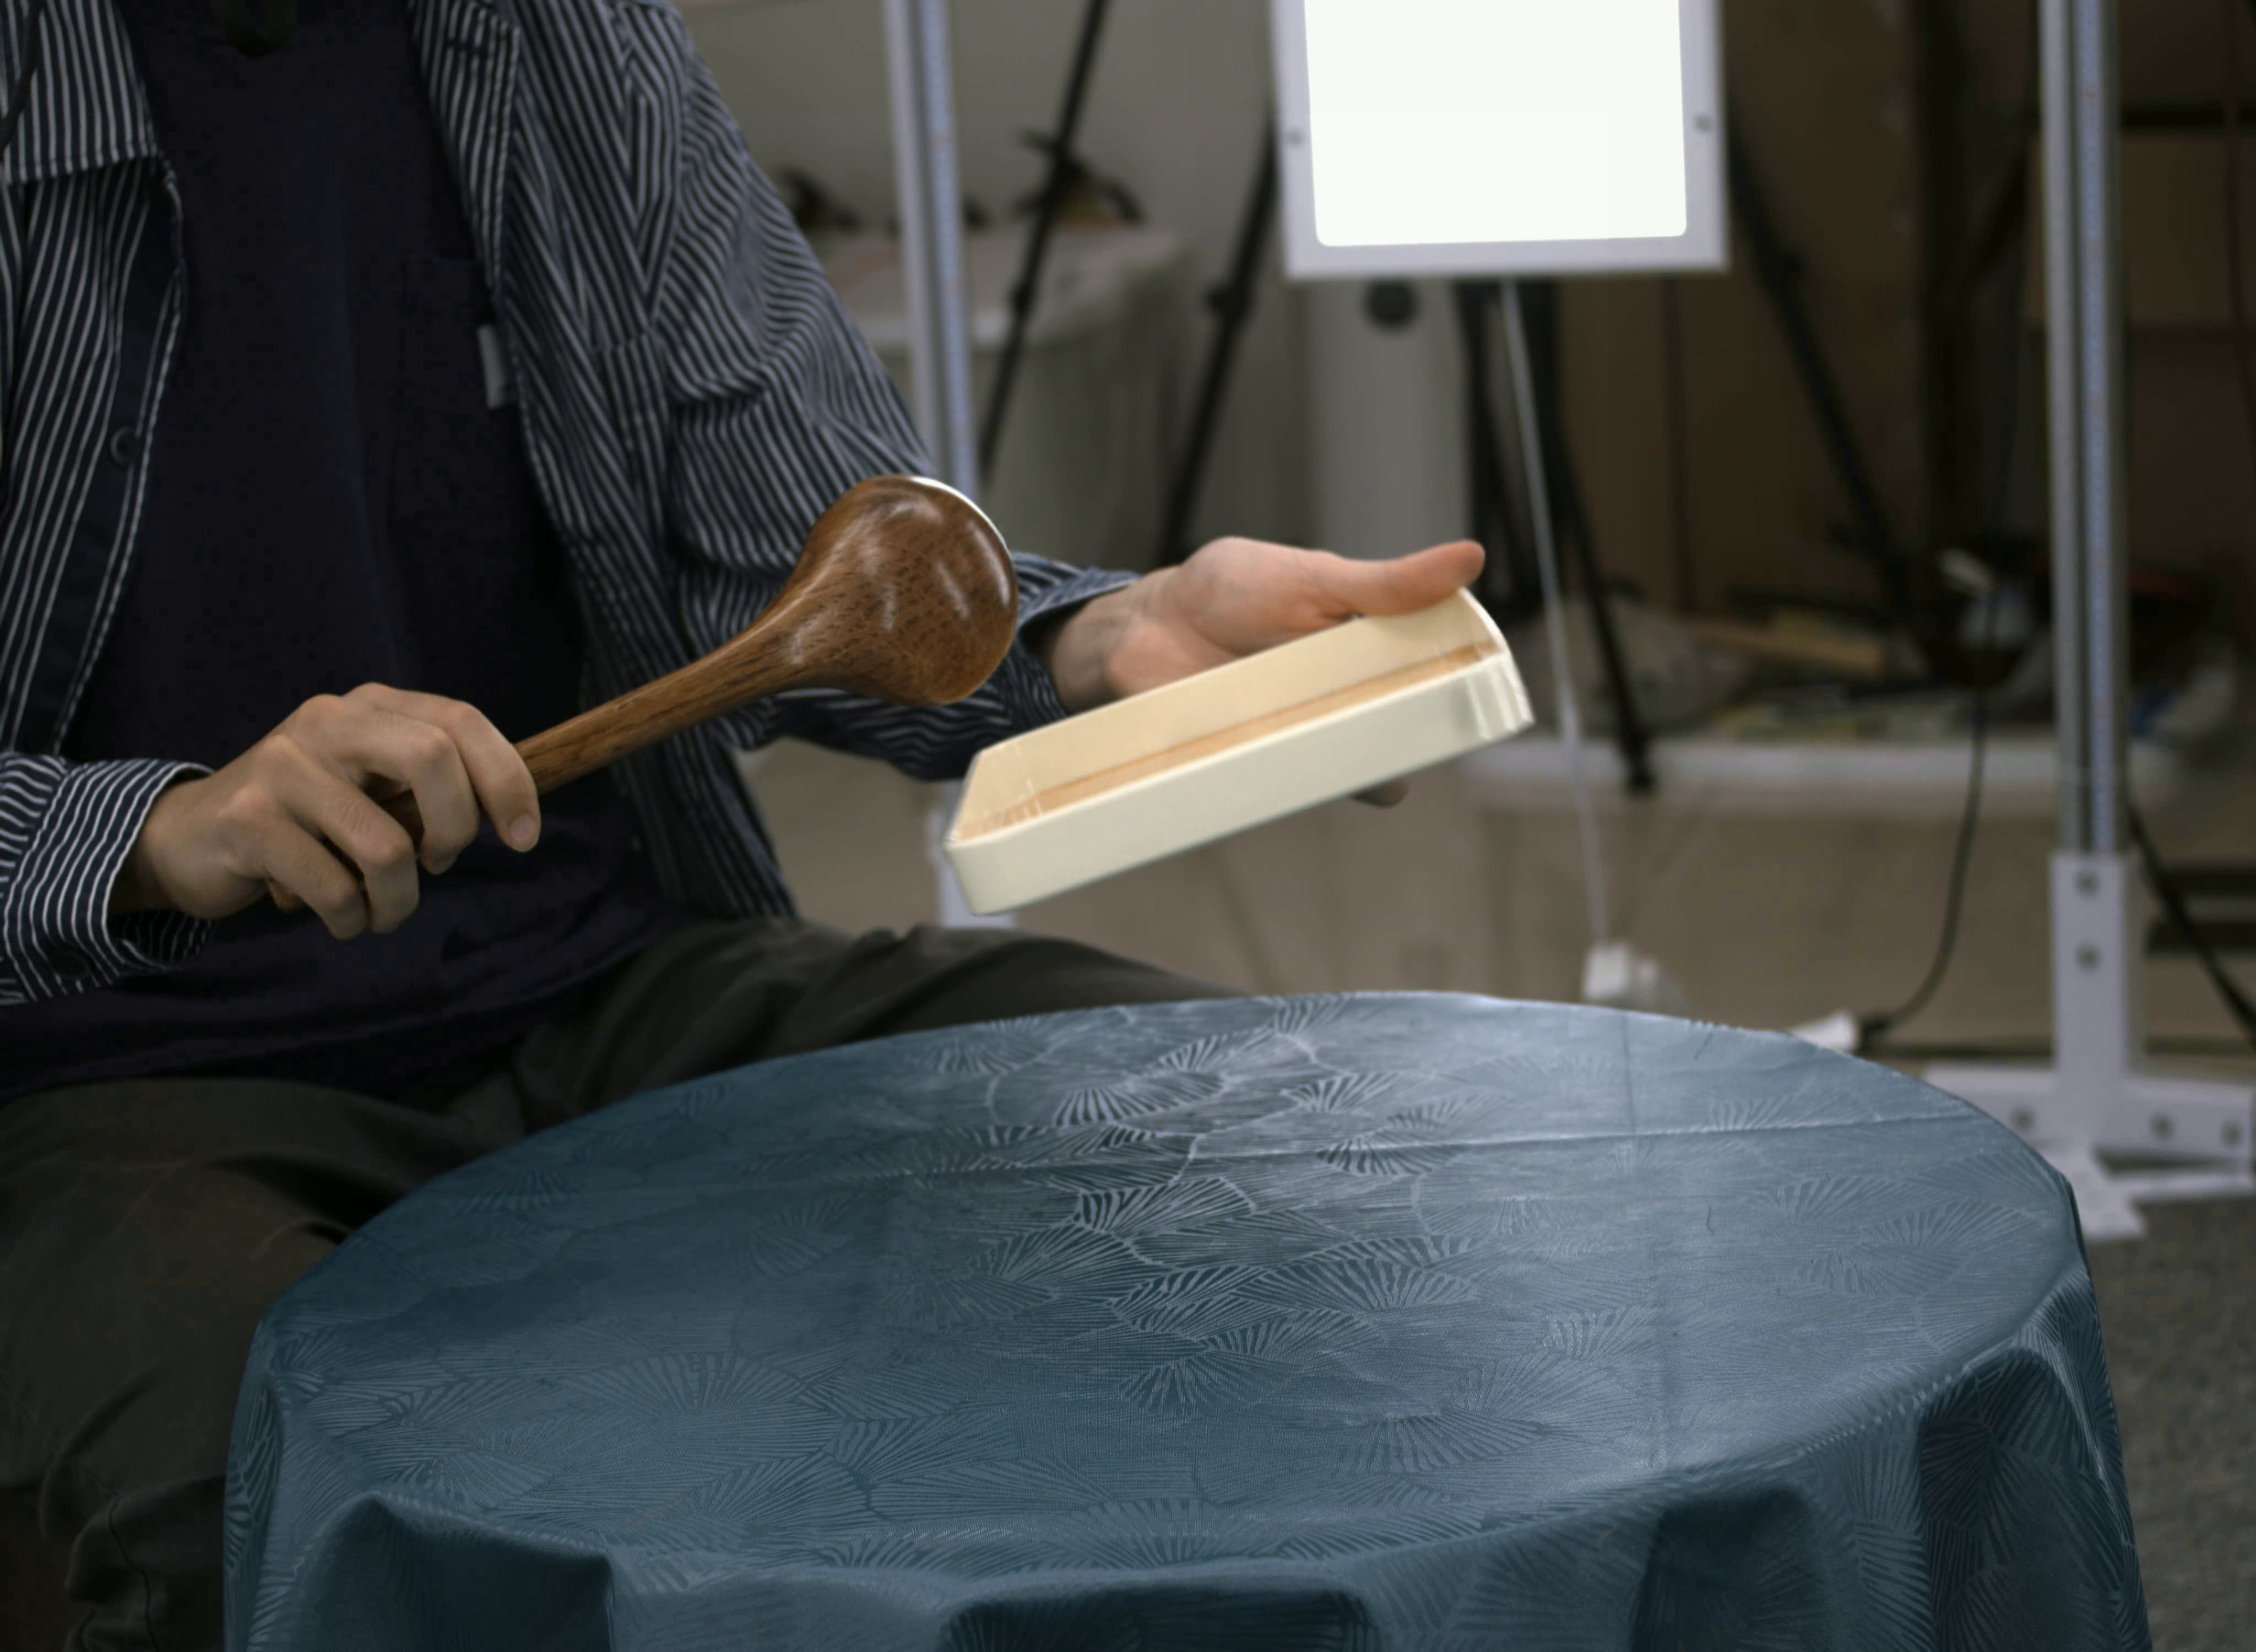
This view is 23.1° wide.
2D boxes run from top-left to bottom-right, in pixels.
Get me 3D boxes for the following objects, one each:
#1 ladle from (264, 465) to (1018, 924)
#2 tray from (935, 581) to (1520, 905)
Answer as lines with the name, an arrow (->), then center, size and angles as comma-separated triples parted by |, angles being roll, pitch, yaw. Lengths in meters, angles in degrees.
ladle -> -0.166, -0.038, 1.880 | 0.277, 0.082, 0.075 | -26, -5, 14
tray -> 0.035, -0.031, 1.863 | 0.192, 0.027, 0.299 | -19, 5, 5
